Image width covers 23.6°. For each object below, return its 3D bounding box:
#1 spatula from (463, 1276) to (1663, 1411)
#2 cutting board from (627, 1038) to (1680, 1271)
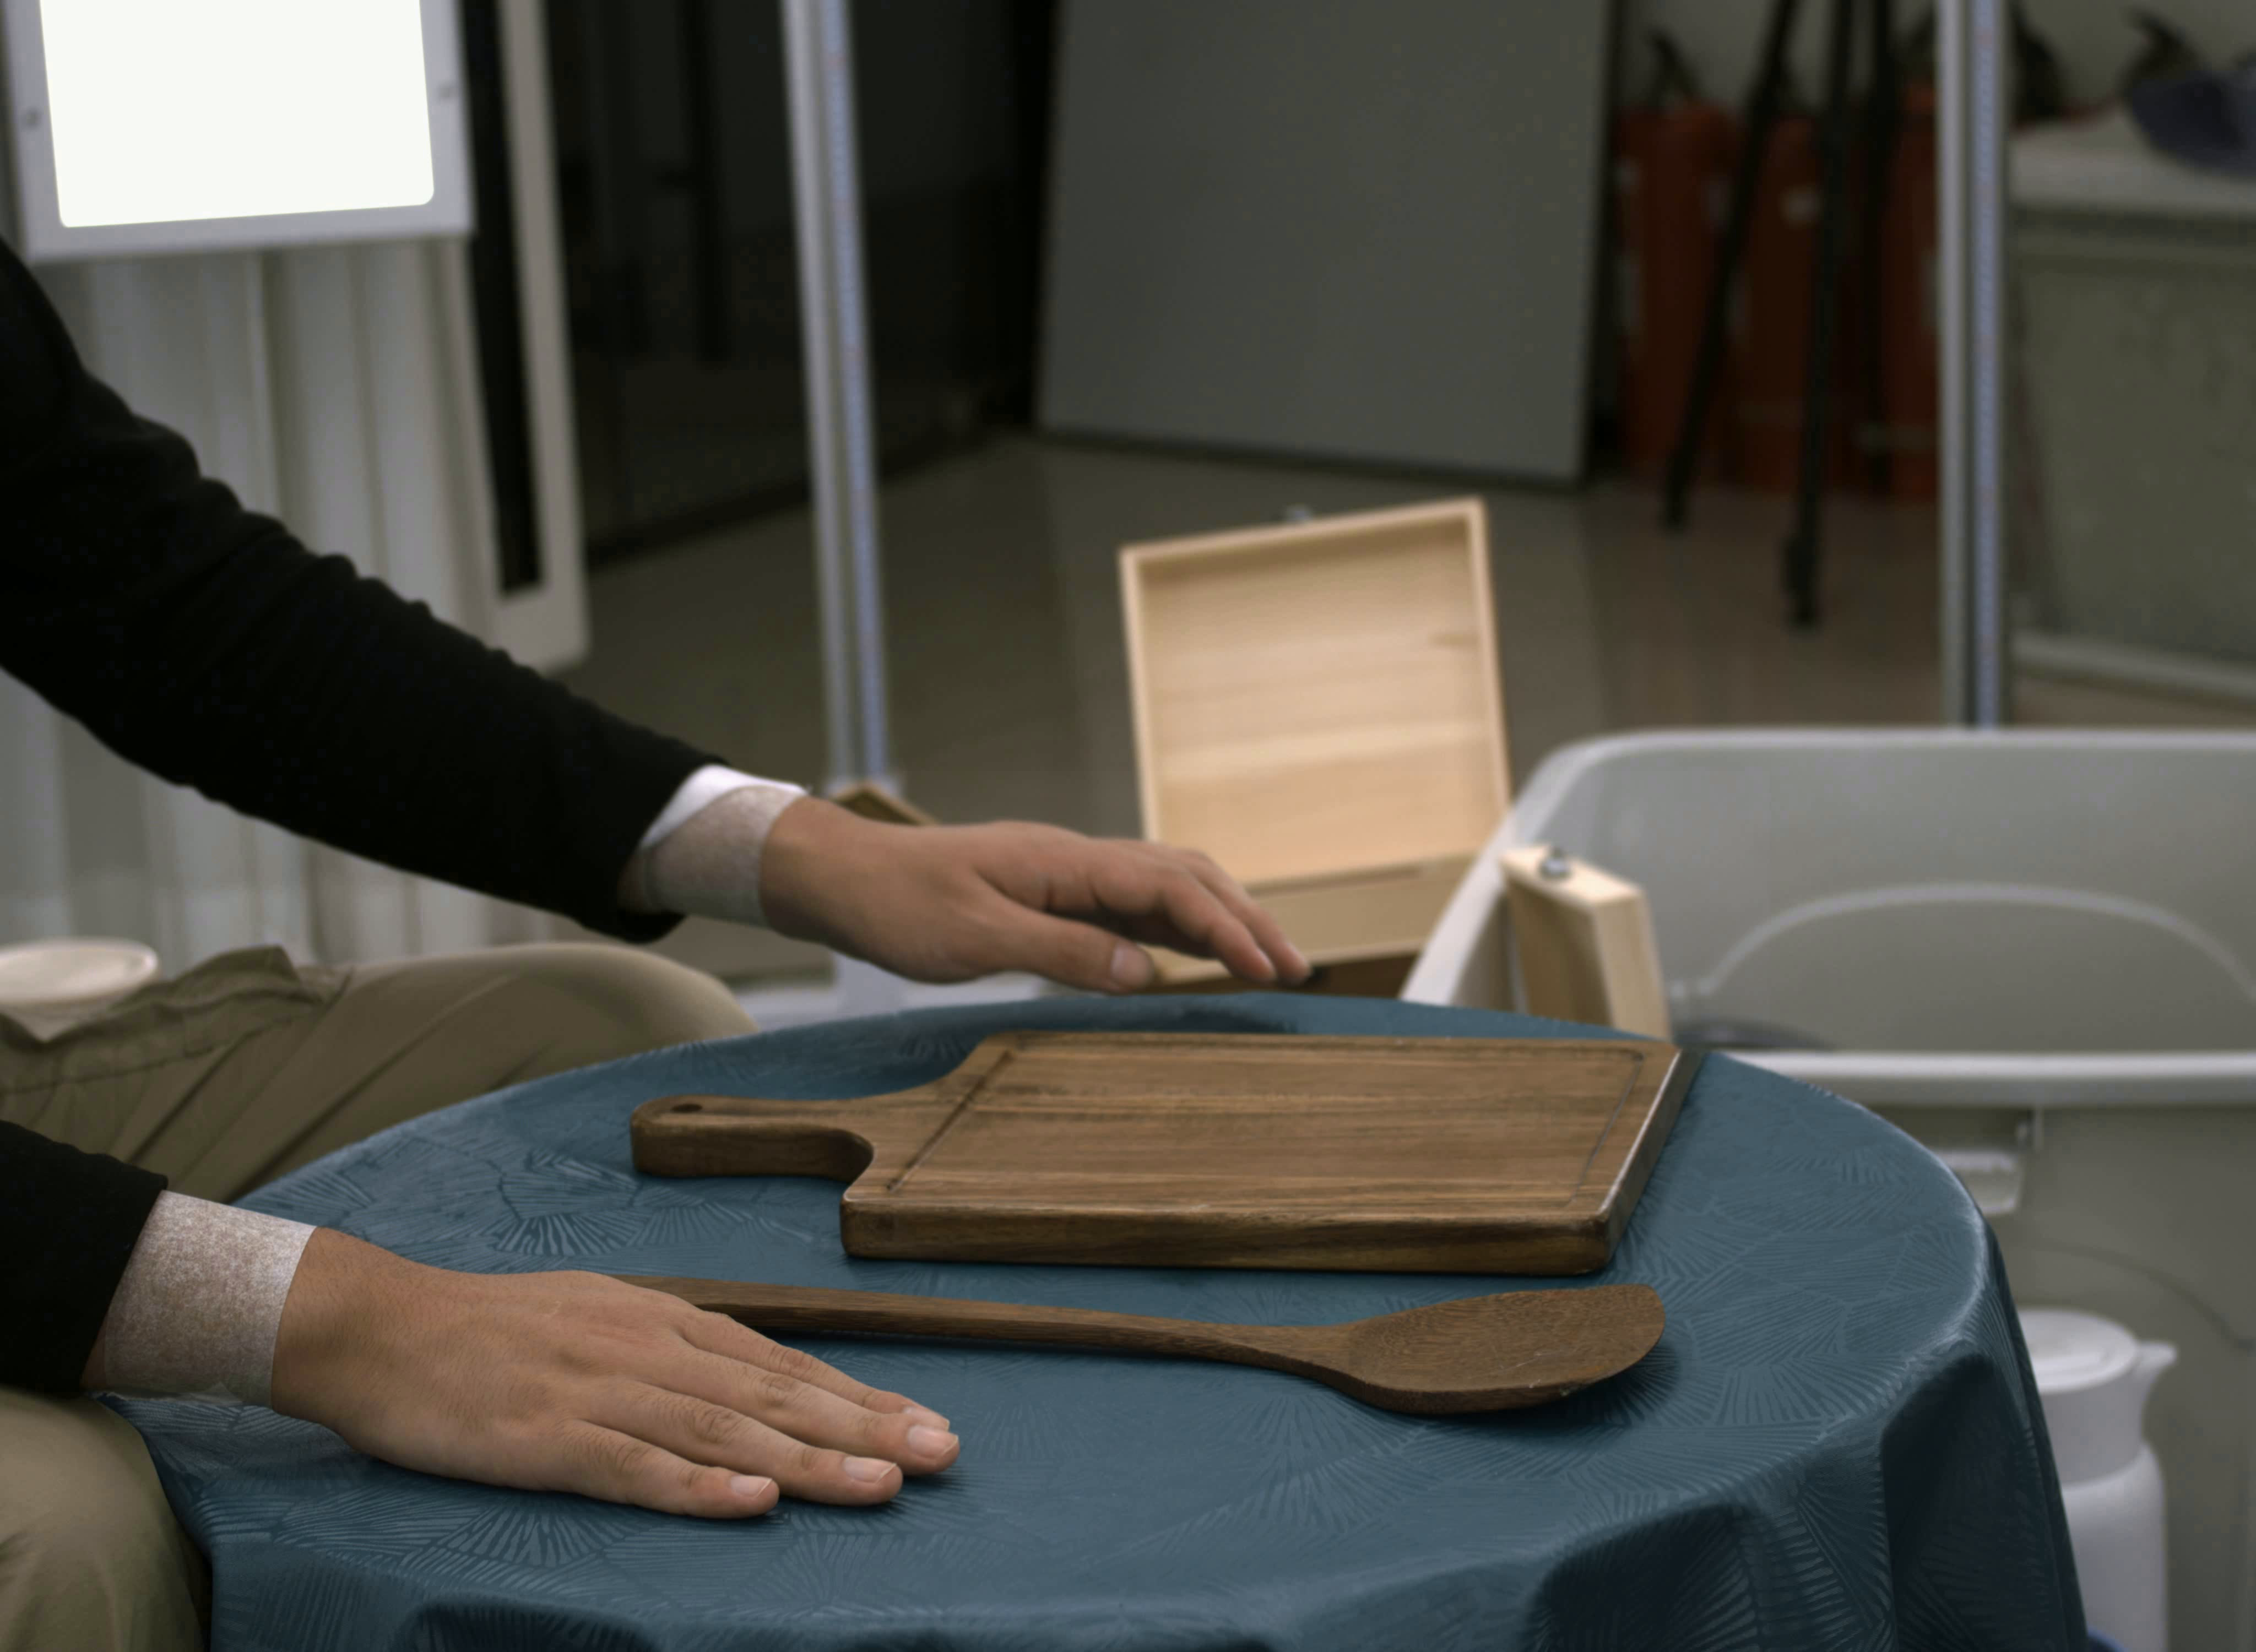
[{"bbox_3d":[-0.027,0.151,1.626,0.385,0.016,0.095,1,14,21],"label":"spatula"},{"bbox_3d":[0.001,0.106,1.787,0.350,0.023,0.199,-1,14,15],"label":"cutting board"}]
